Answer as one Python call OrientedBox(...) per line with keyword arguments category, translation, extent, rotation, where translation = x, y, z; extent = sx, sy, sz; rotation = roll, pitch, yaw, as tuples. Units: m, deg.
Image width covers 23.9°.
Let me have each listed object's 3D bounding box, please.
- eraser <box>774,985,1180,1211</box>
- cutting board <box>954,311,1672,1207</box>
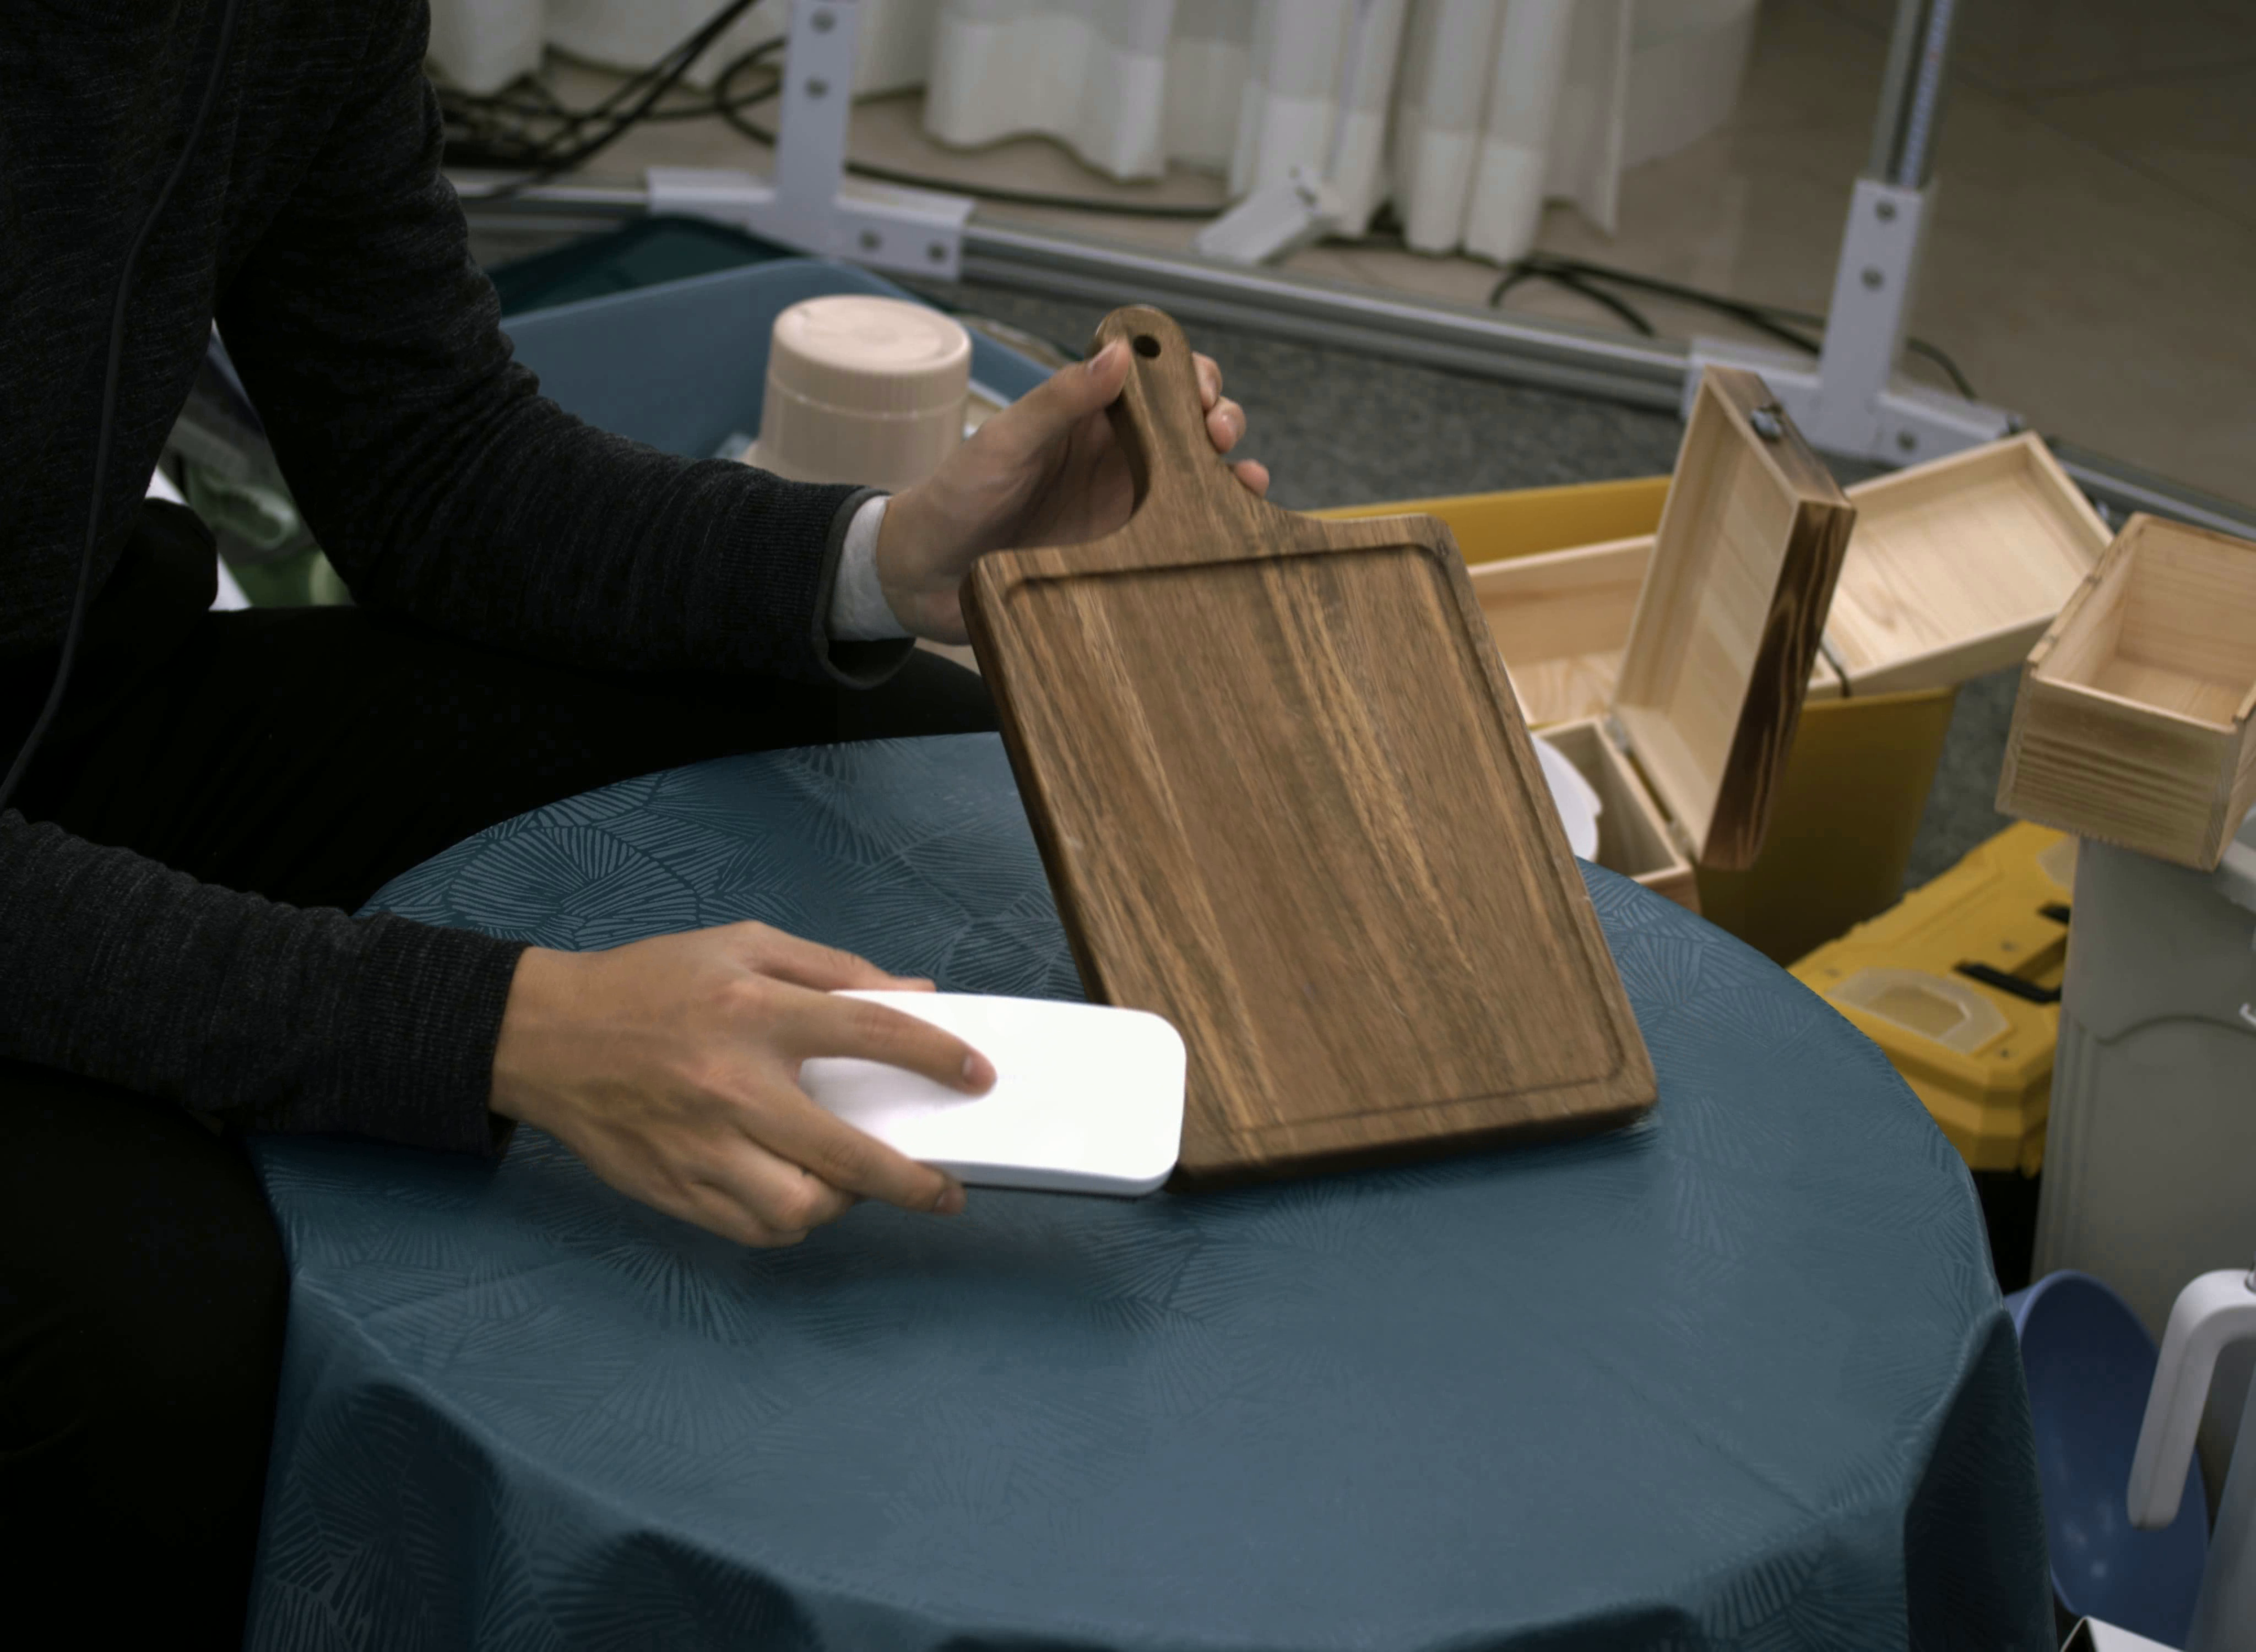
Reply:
OrientedBox(category="eraser", translation=(-0.049, 0.089, 1.742), extent=(0.131, 0.034, 0.064), rotation=(6, 61, 0))
OrientedBox(category="cutting board", translation=(0.050, -0.036, 1.904), extent=(0.200, 0.023, 0.355), rotation=(-7, 62, -24))
